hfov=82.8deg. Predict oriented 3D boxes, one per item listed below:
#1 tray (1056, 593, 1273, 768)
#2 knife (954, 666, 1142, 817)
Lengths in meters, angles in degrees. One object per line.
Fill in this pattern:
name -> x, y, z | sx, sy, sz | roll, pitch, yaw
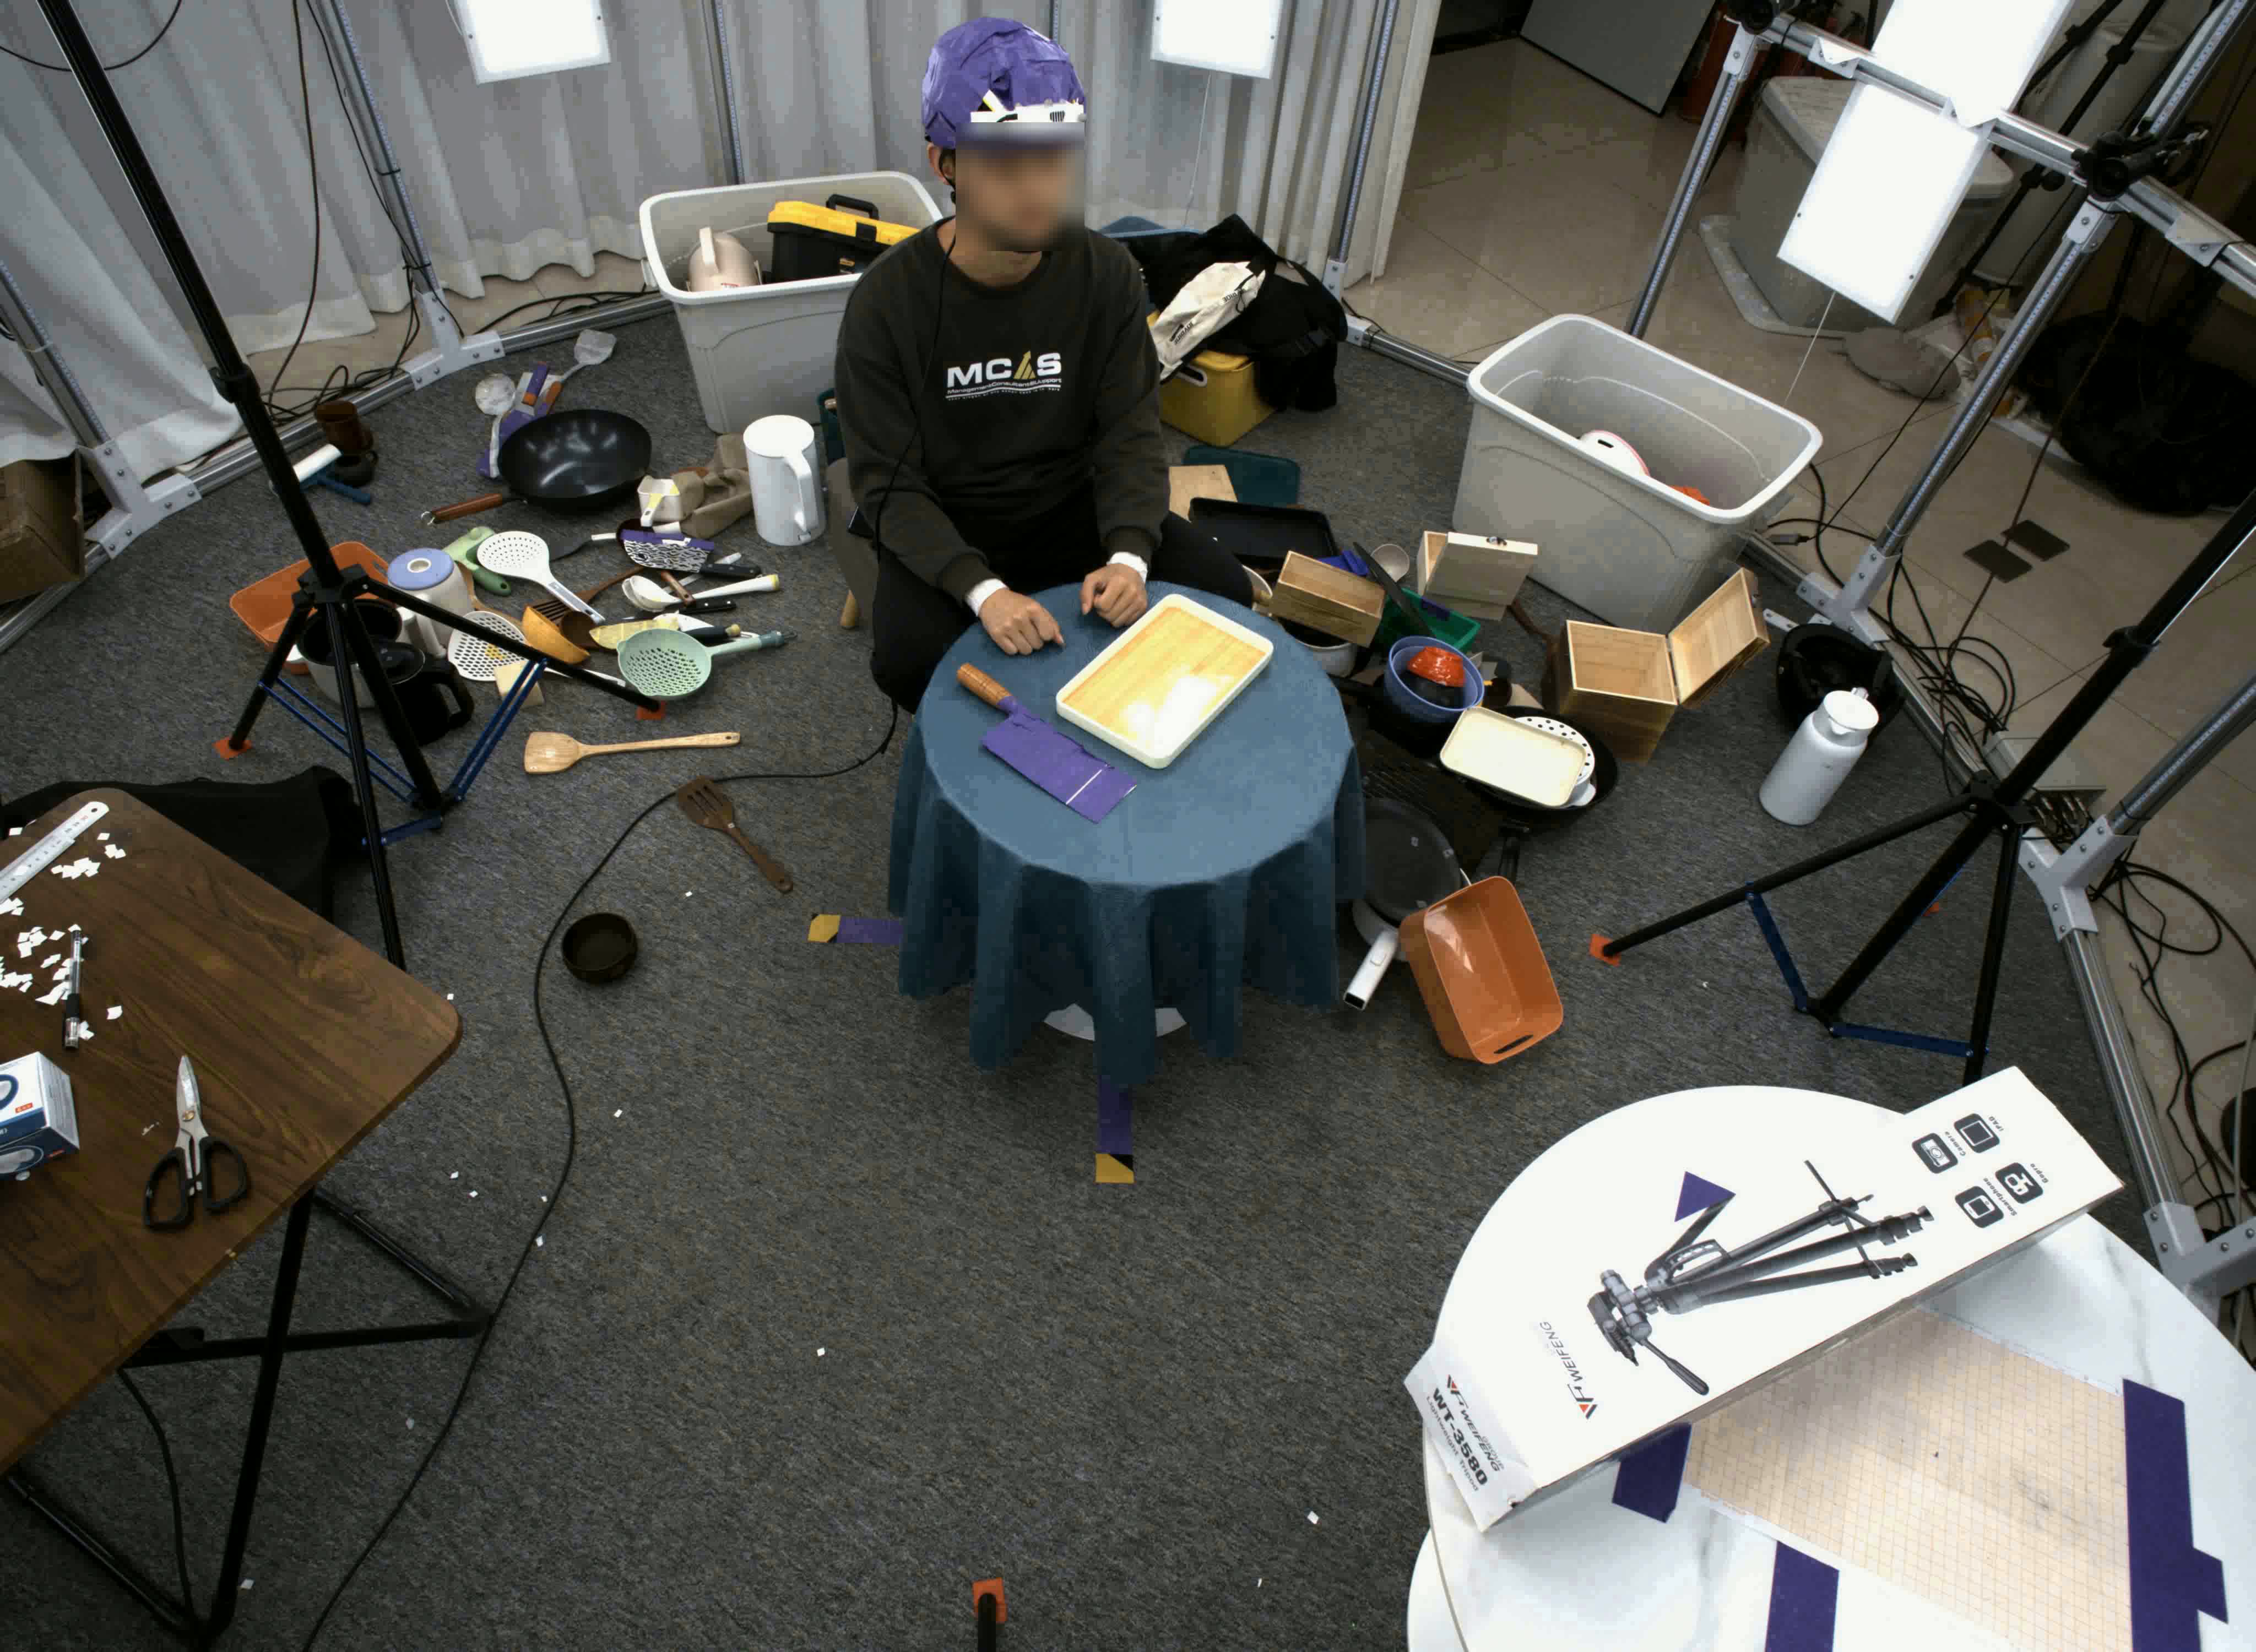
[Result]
tray -> 0.055, -0.215, 1.840 | 0.193, 0.027, 0.304 | 30, 54, 21
knife -> -0.132, -0.117, 1.742 | 0.319, 0.031, 0.105 | 33, 54, 22
